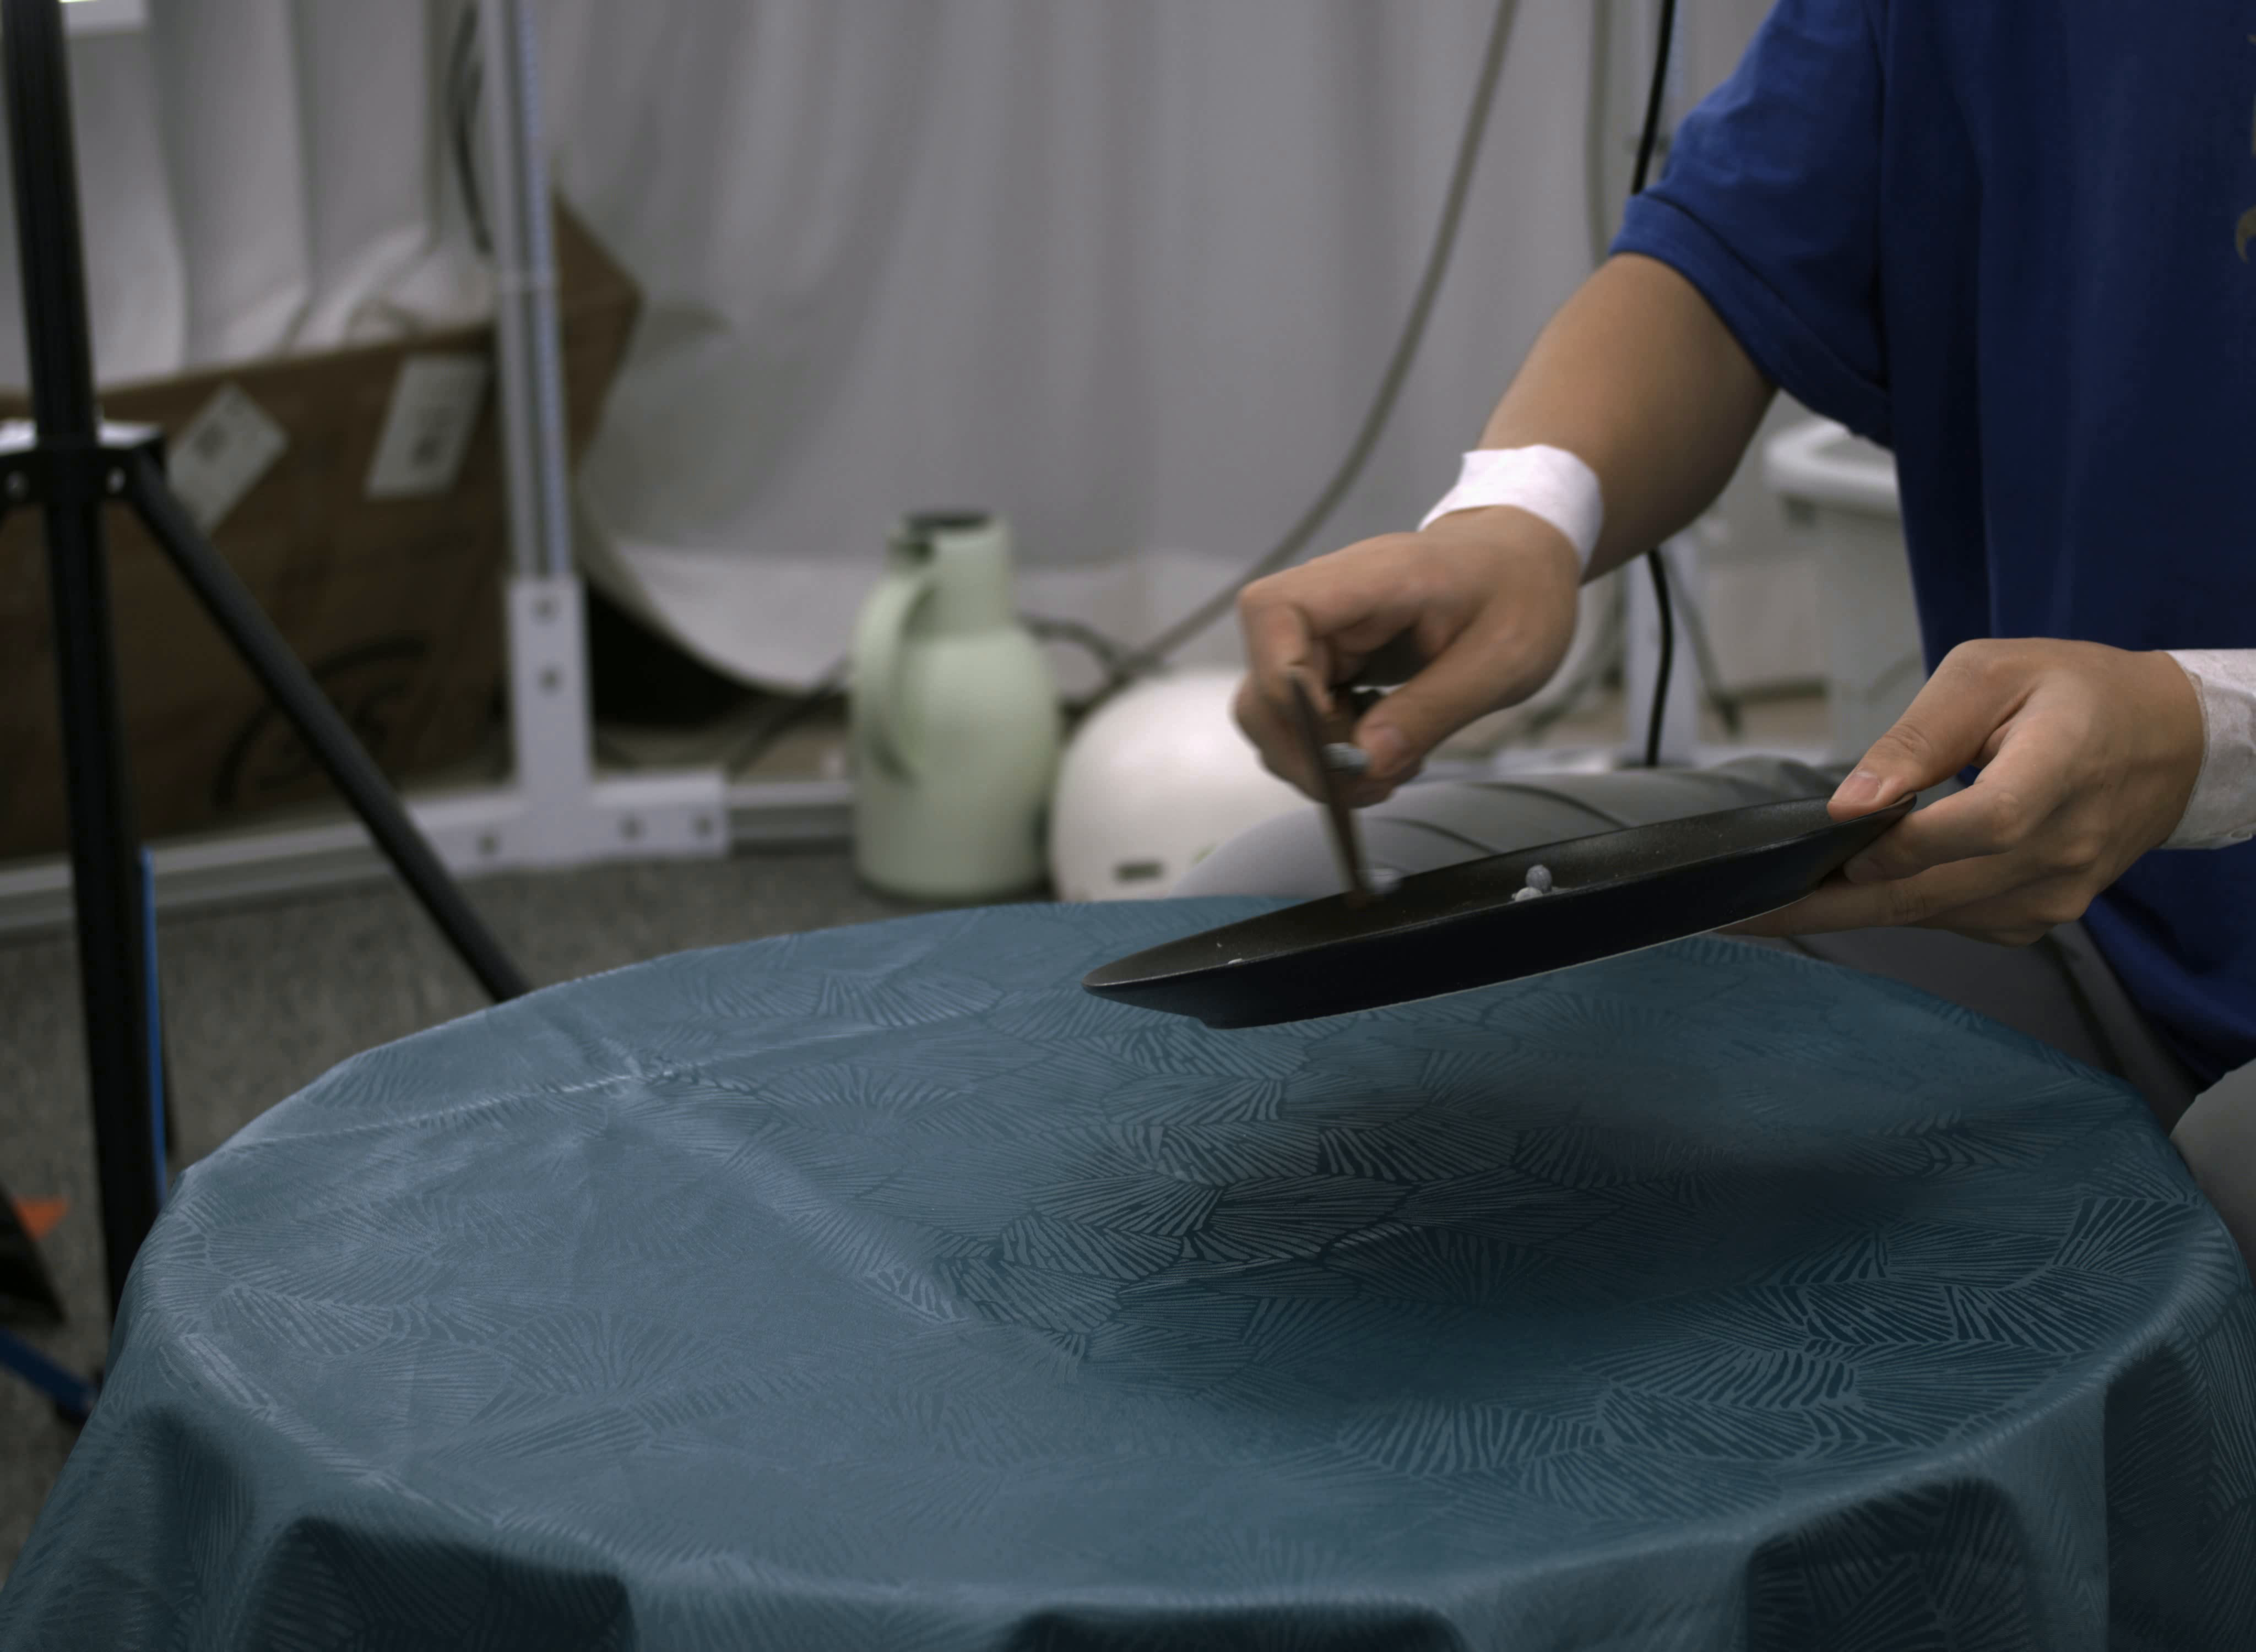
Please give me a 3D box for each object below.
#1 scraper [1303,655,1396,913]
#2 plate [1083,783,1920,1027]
[{"bbox_3d":[0.069,-0.023,1.611,0.011,0.076,0.211,-17,6,6],"label":"scraper"},{"bbox_3d":[0.108,0.026,1.511,0.243,0.023,0.244,-13,2,-1],"label":"plate"}]
